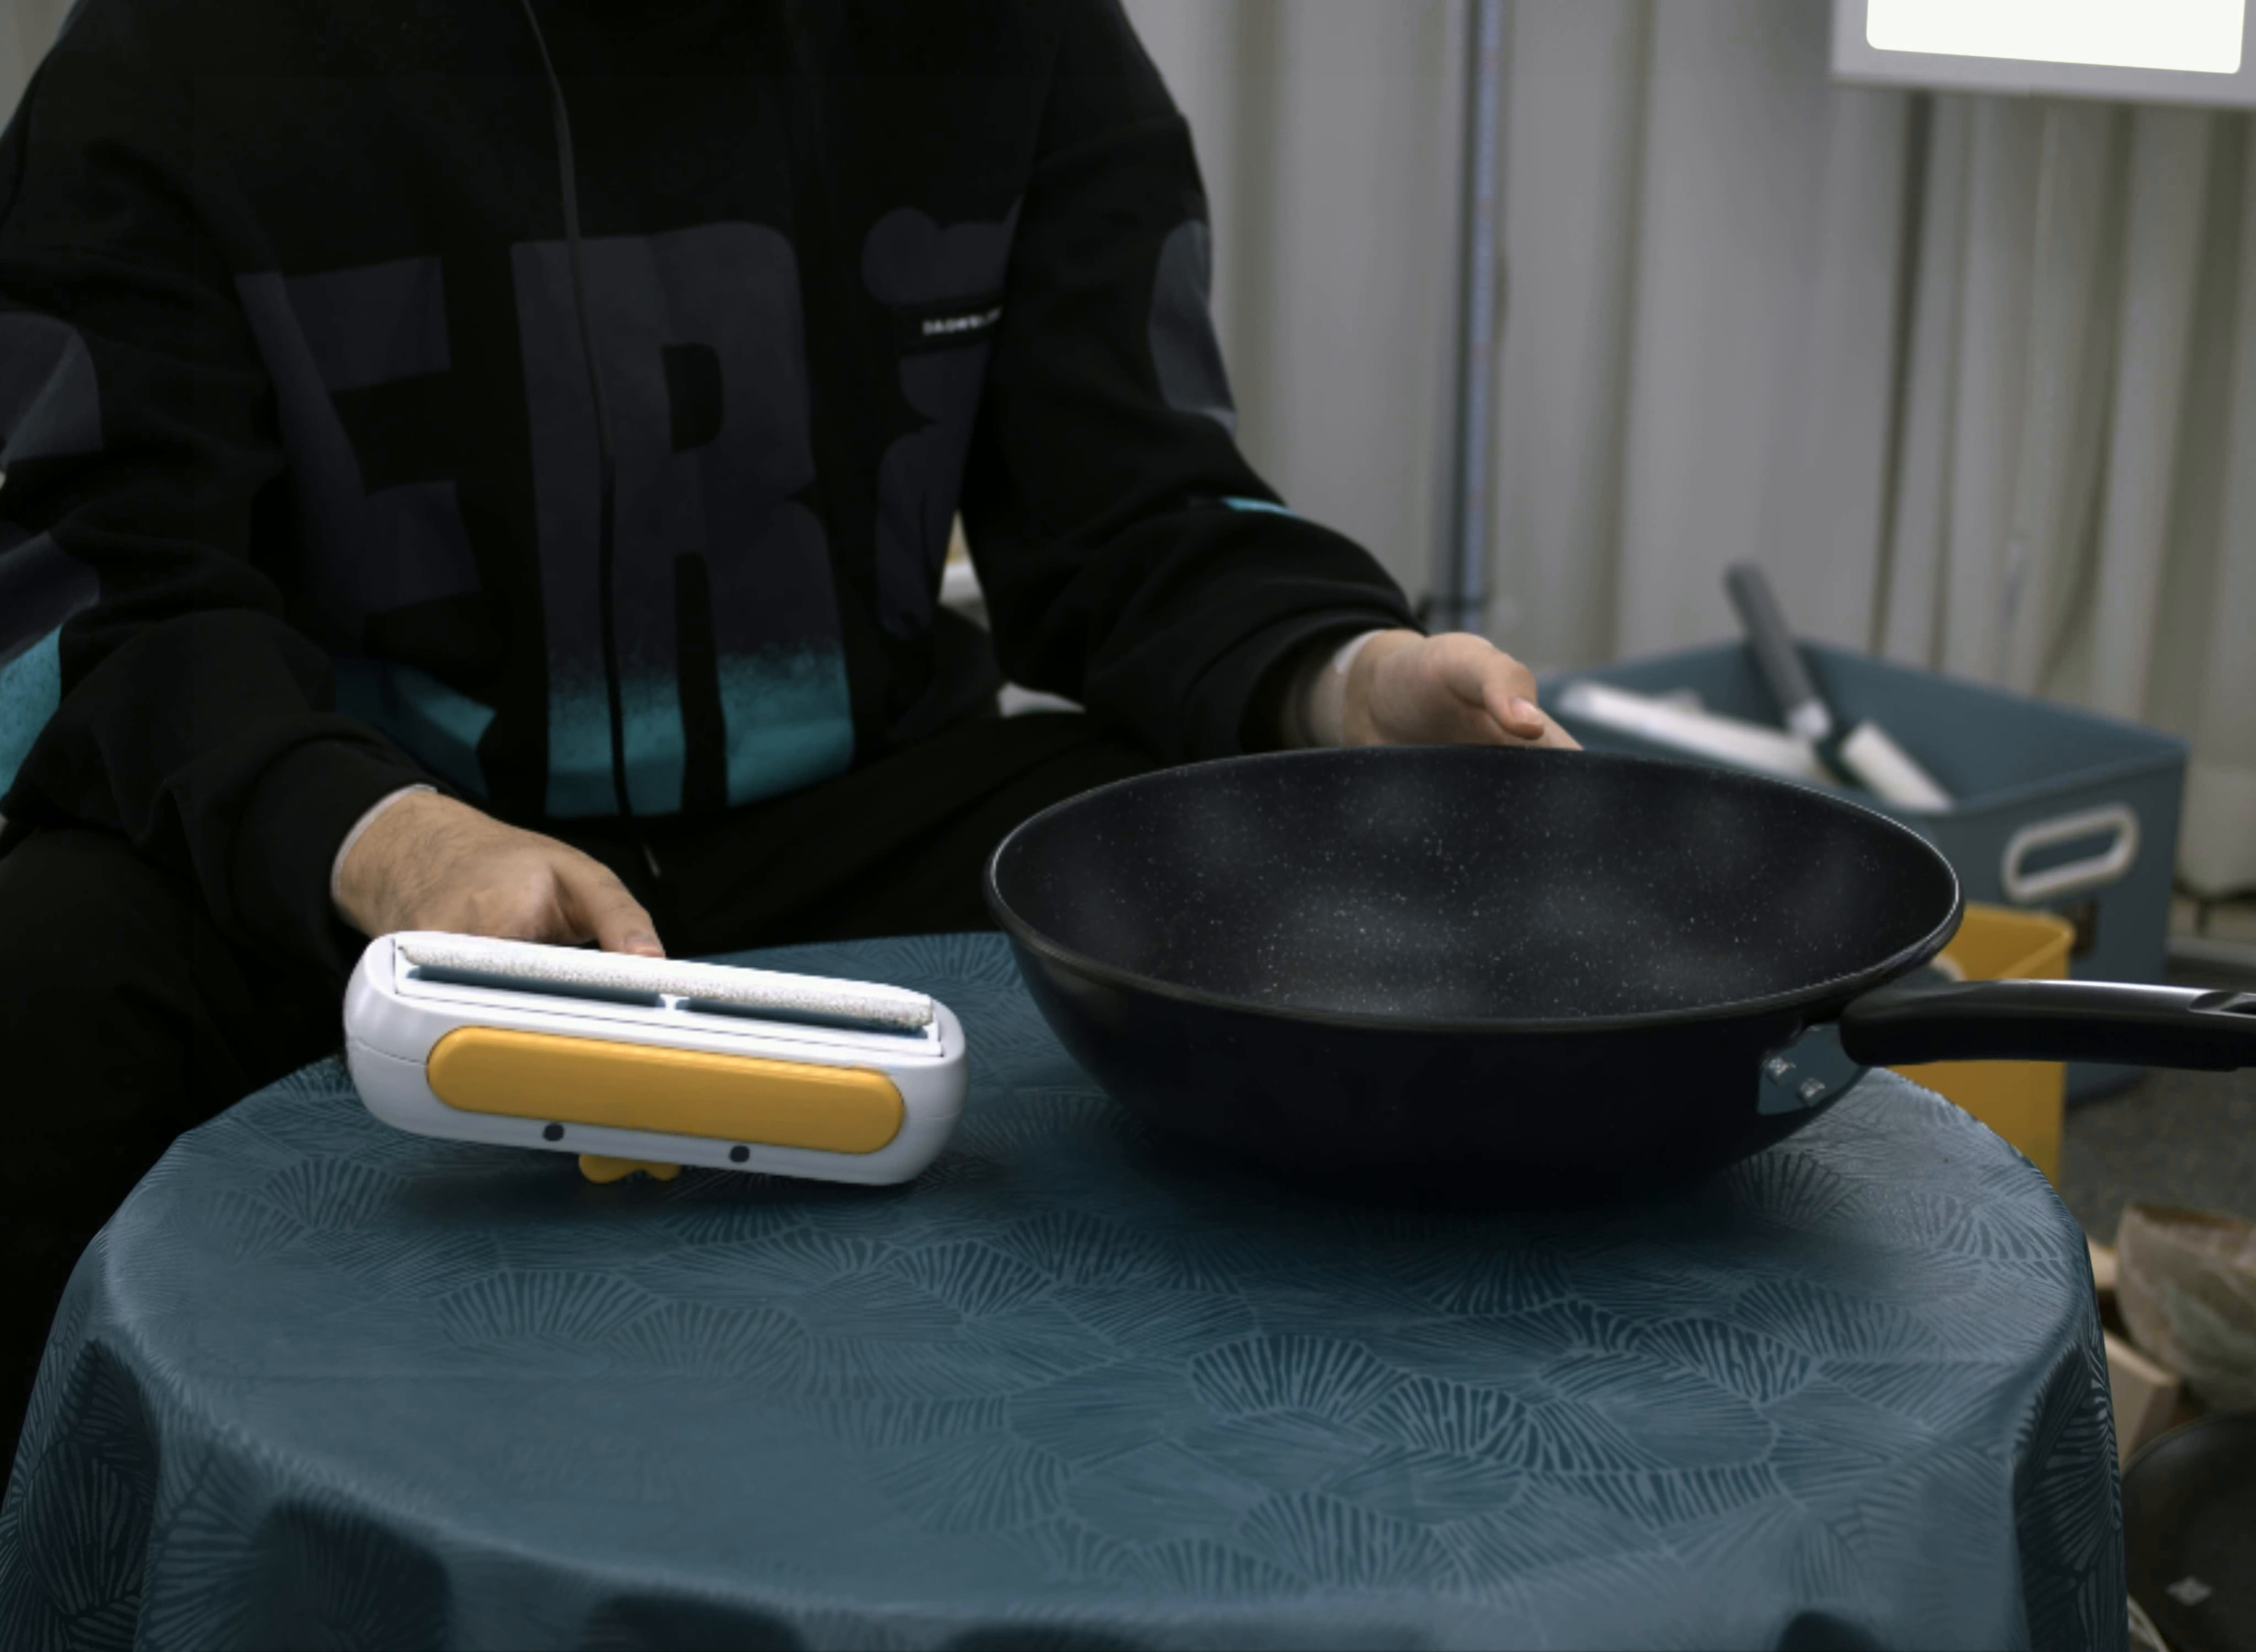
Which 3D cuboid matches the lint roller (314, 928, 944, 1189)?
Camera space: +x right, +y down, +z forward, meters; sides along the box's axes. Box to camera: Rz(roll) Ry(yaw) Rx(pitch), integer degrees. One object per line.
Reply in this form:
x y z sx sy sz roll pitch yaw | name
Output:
-0.159 0.063 1.665 0.193 0.075 0.191 4 13 -8 | lint roller

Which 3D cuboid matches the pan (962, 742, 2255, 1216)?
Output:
0.160 0.060 1.613 0.311 0.112 0.470 -16 22 -41 | pan
